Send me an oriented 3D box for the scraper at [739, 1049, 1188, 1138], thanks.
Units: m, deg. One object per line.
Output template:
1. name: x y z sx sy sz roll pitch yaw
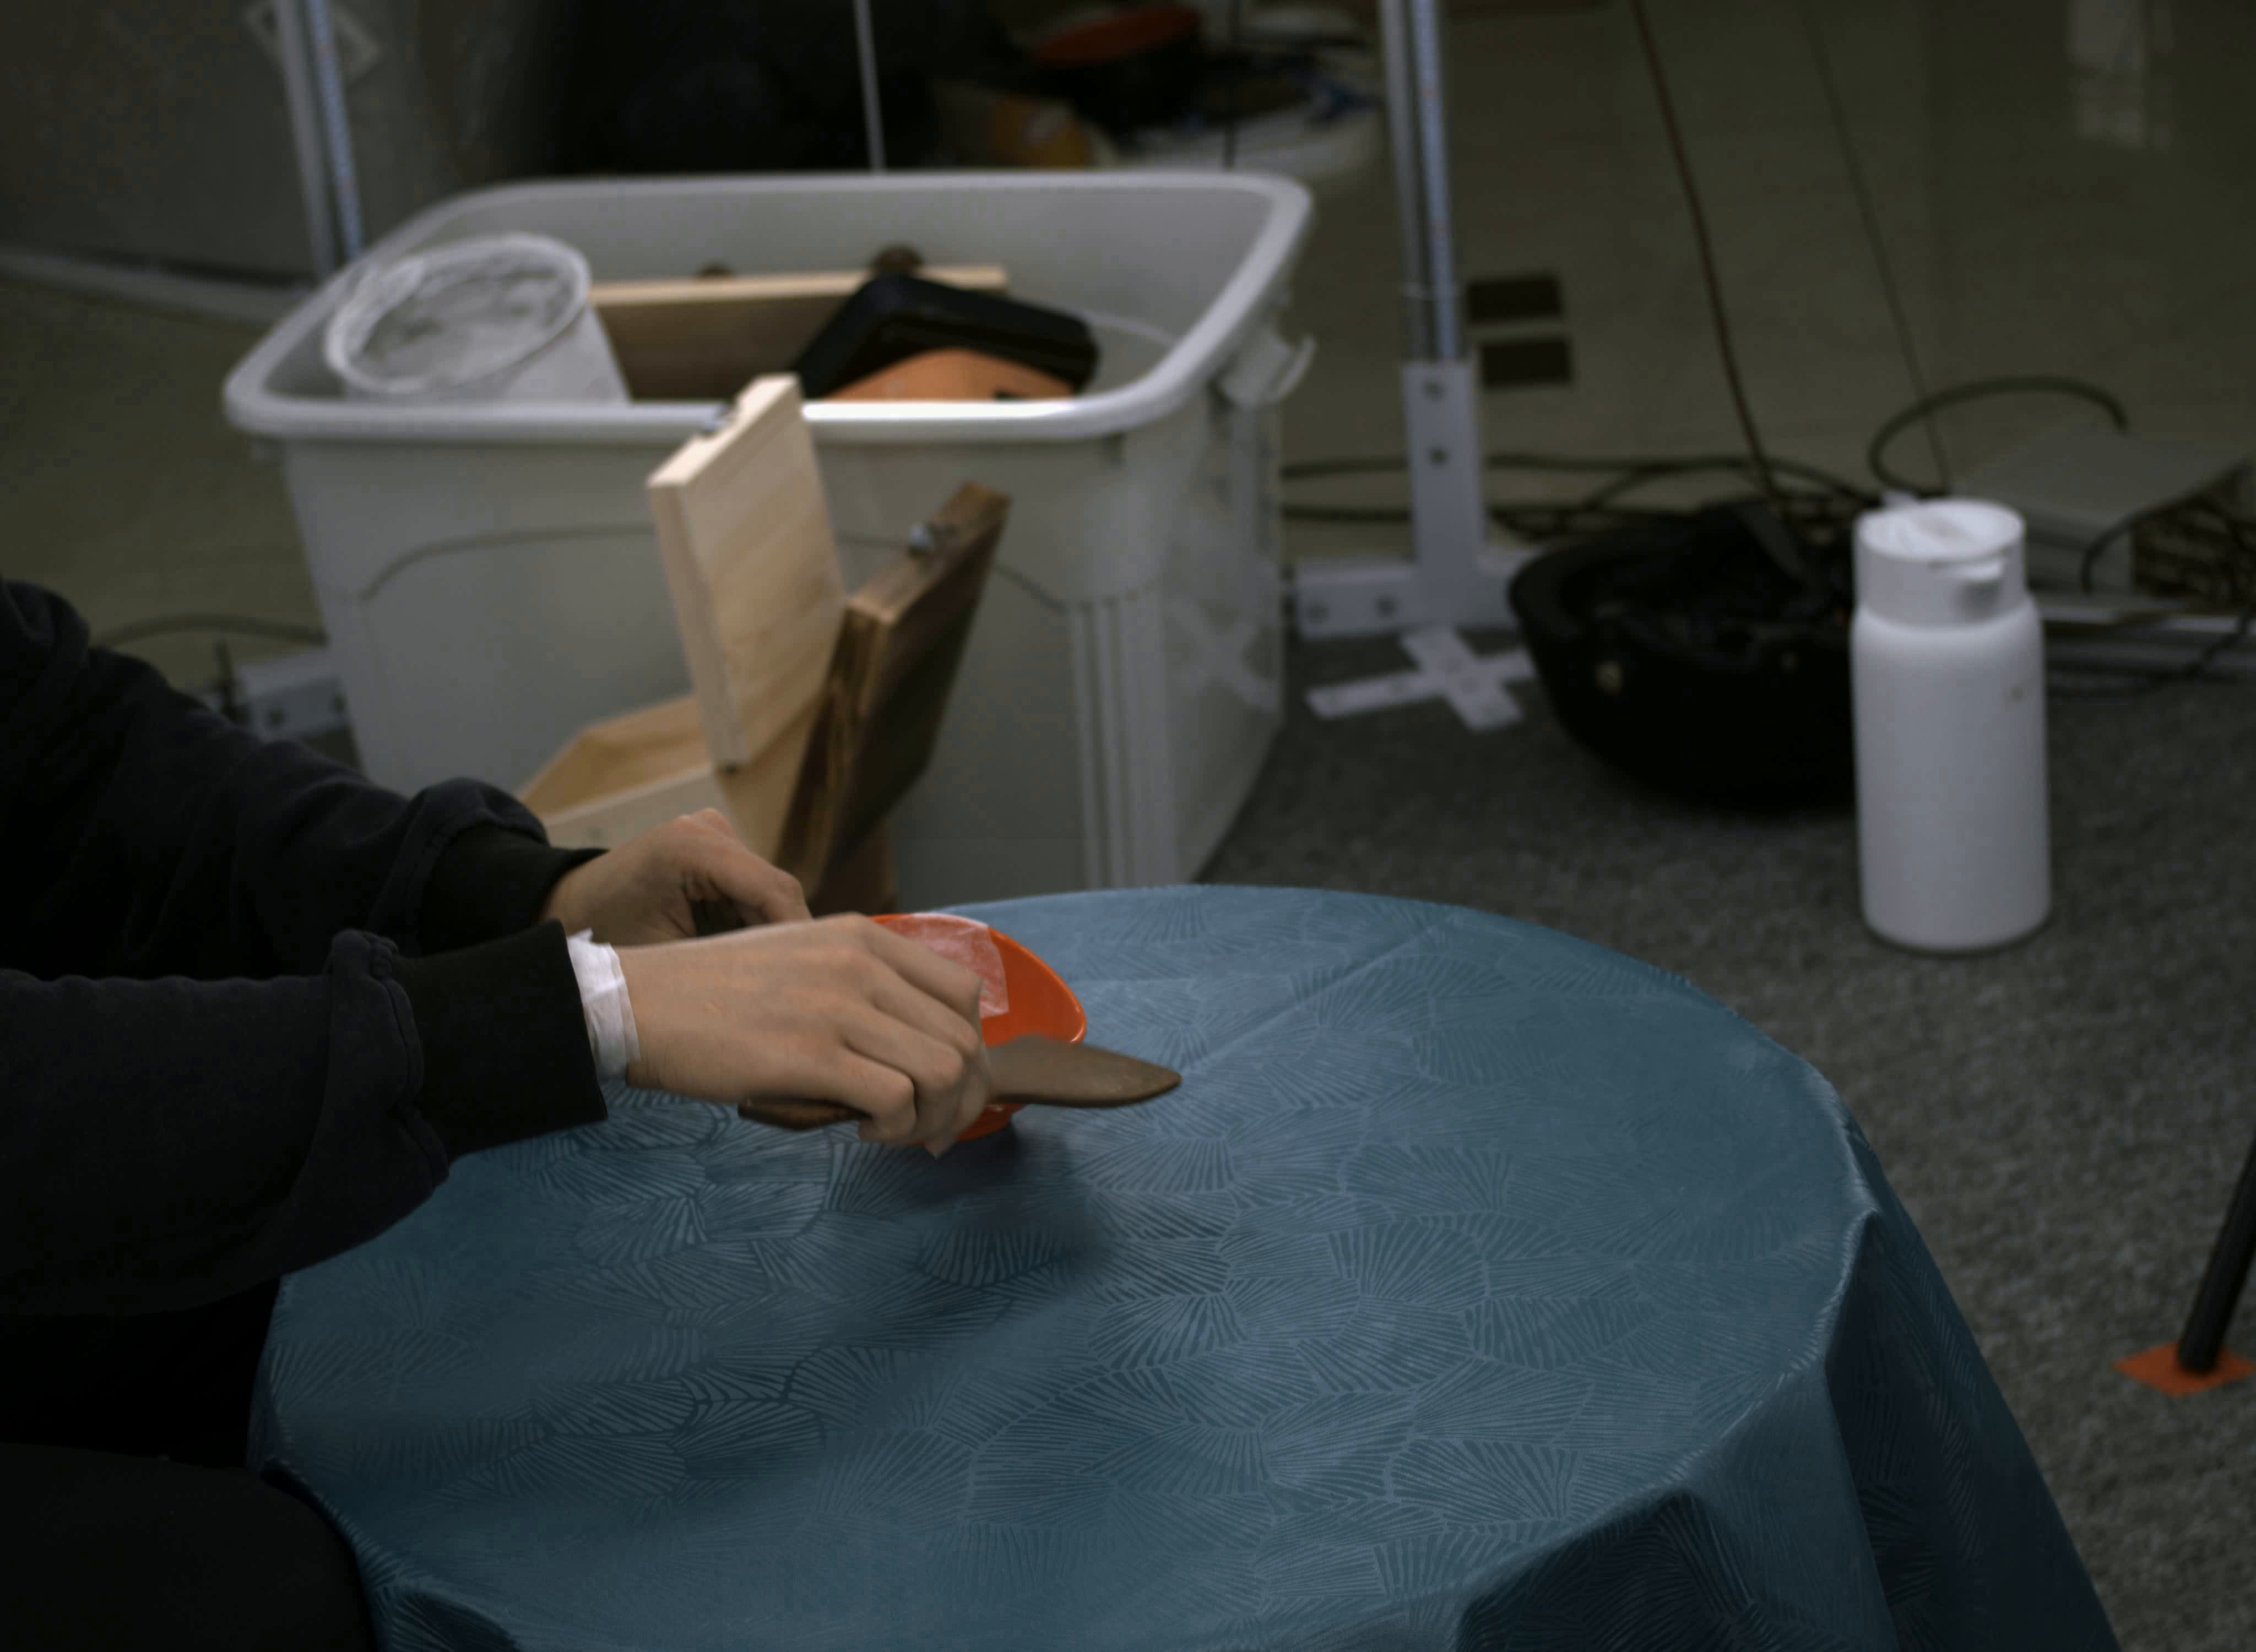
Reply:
1. scraper: -0.065 0.099 2.043 0.075 0.011 0.211 13 10 36

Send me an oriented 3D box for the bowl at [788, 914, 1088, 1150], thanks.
1. bowl: -0.078 0.085 2.204 0.119 0.052 0.117 11 30 -7
